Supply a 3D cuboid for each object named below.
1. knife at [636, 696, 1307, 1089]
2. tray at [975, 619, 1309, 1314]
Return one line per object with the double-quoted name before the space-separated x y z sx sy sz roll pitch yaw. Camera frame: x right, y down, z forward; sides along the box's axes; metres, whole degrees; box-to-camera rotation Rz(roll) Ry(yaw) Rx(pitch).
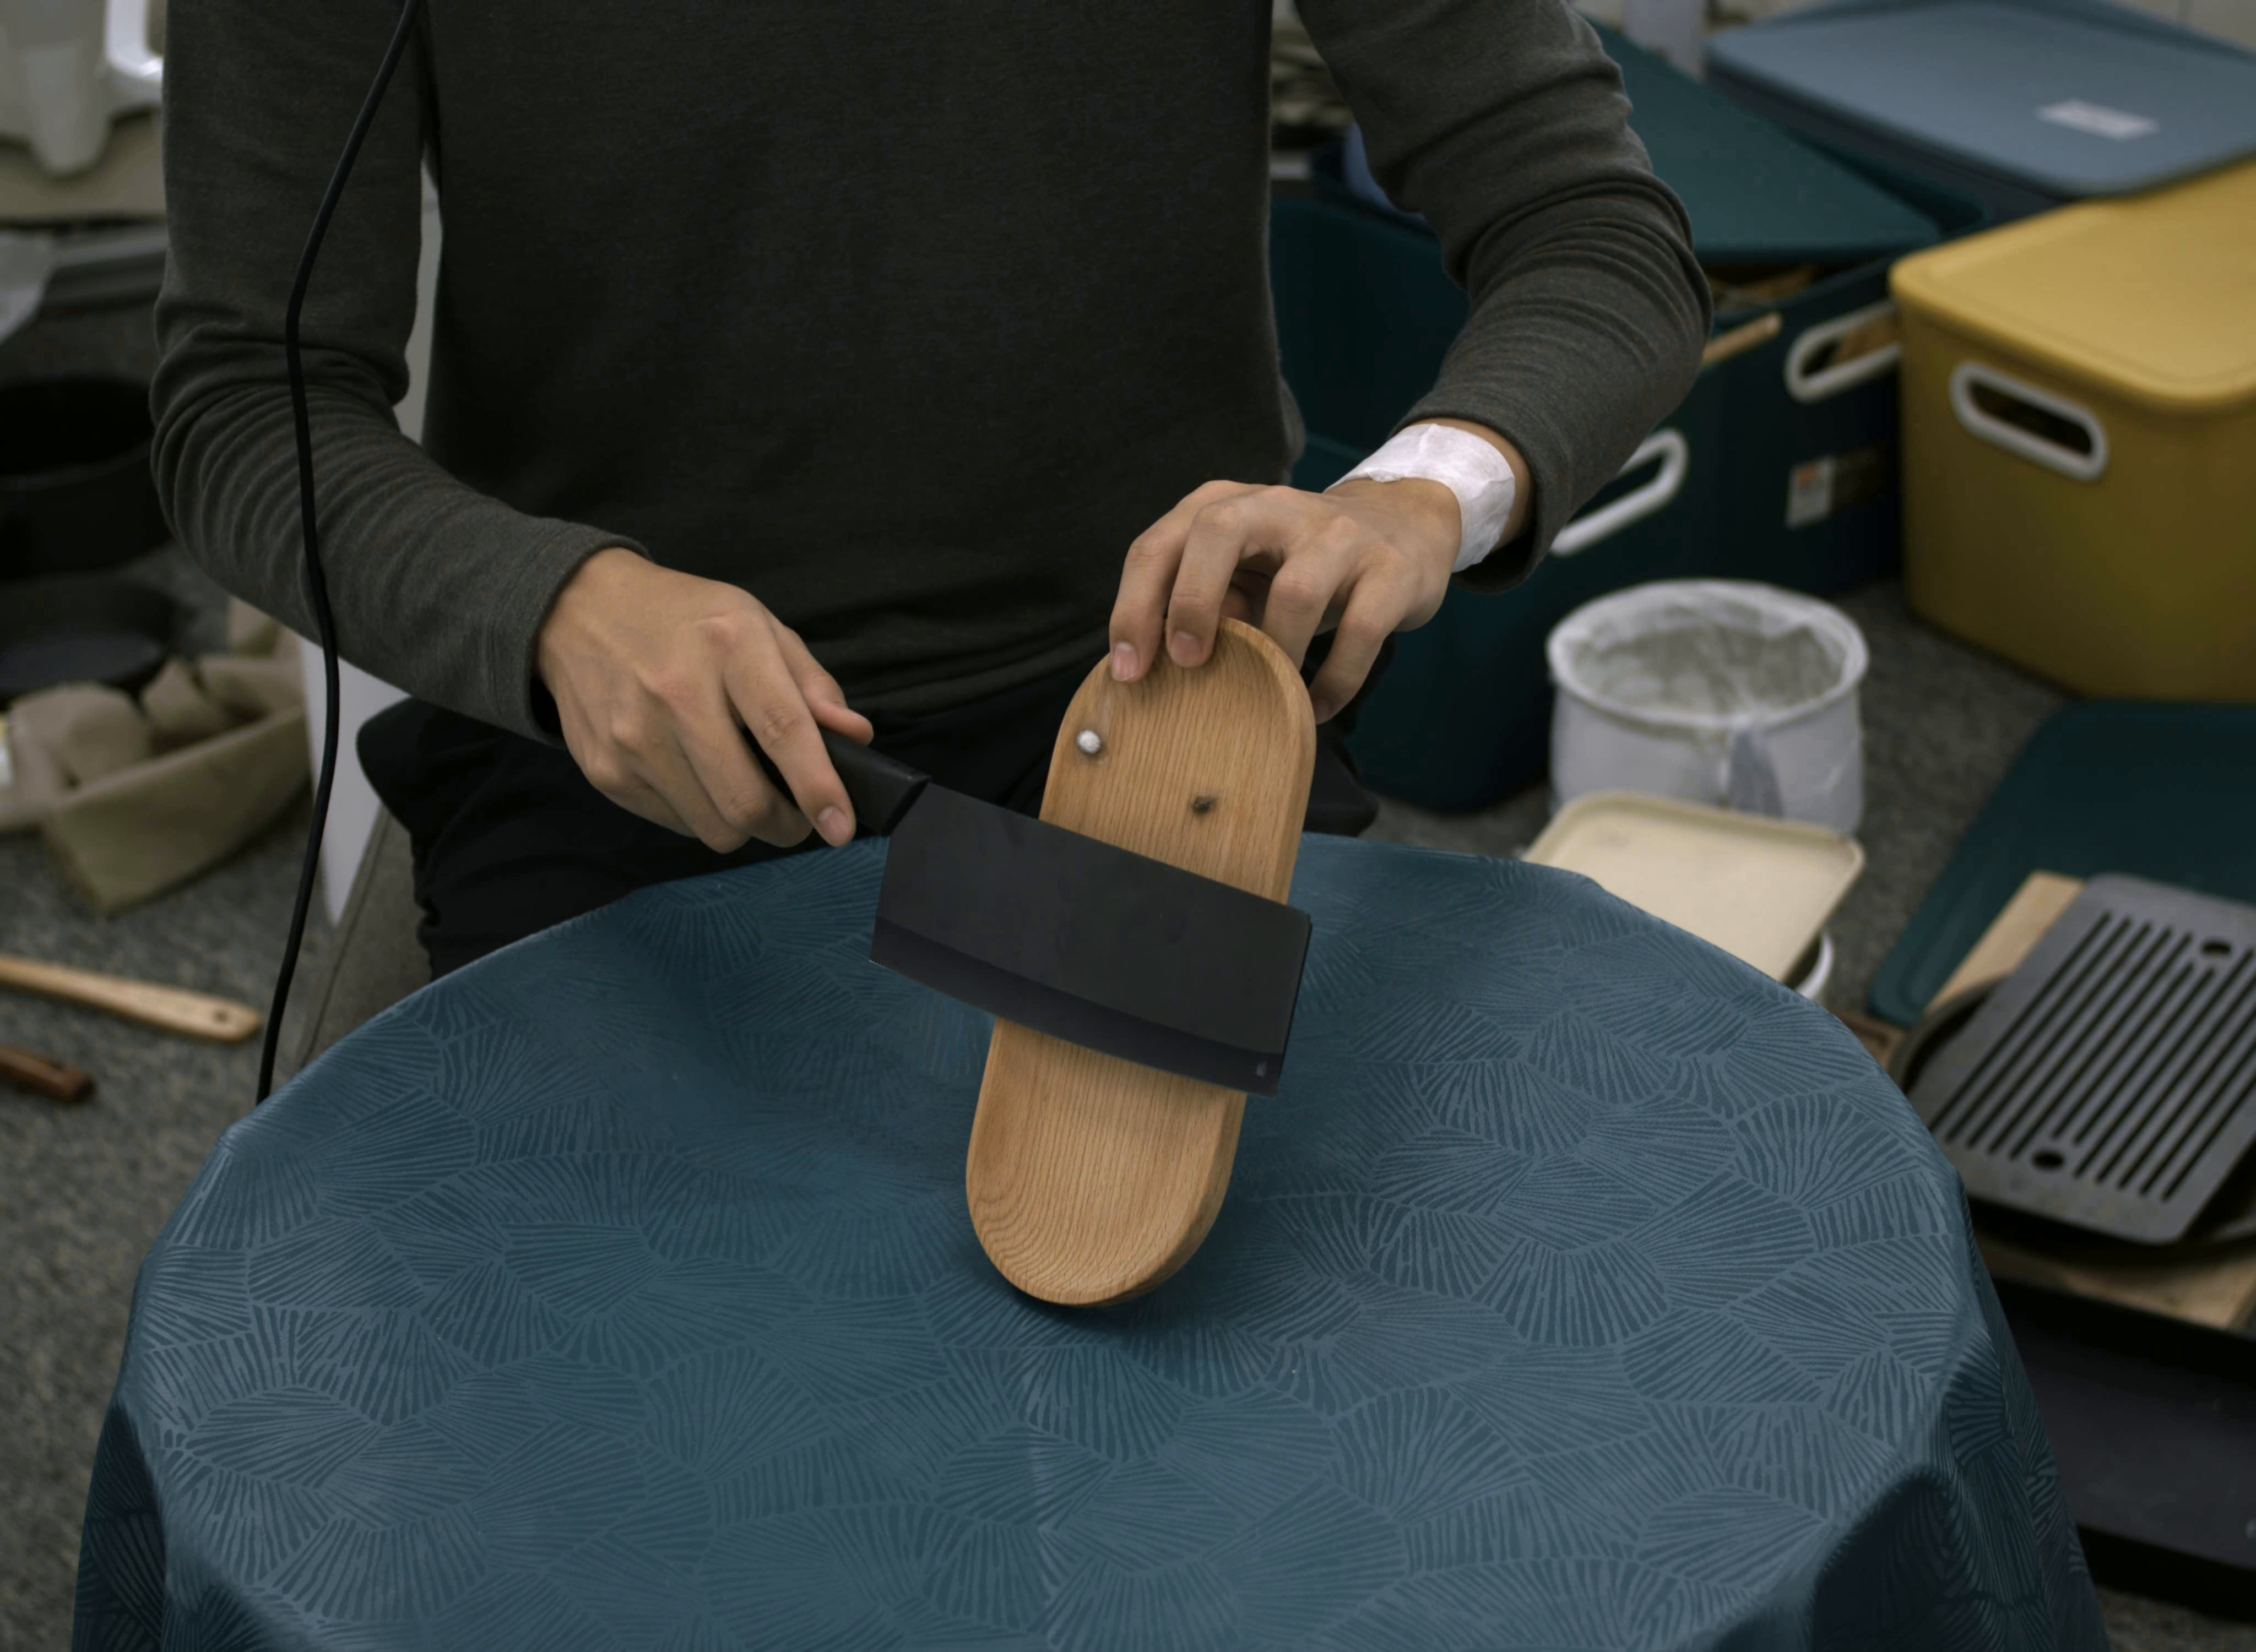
"knife" -0.057 0.016 1.842 0.302 0.081 0.021 24 12 39
"tray" 0.006 0.044 1.813 0.100 0.234 0.020 -3 -20 37
